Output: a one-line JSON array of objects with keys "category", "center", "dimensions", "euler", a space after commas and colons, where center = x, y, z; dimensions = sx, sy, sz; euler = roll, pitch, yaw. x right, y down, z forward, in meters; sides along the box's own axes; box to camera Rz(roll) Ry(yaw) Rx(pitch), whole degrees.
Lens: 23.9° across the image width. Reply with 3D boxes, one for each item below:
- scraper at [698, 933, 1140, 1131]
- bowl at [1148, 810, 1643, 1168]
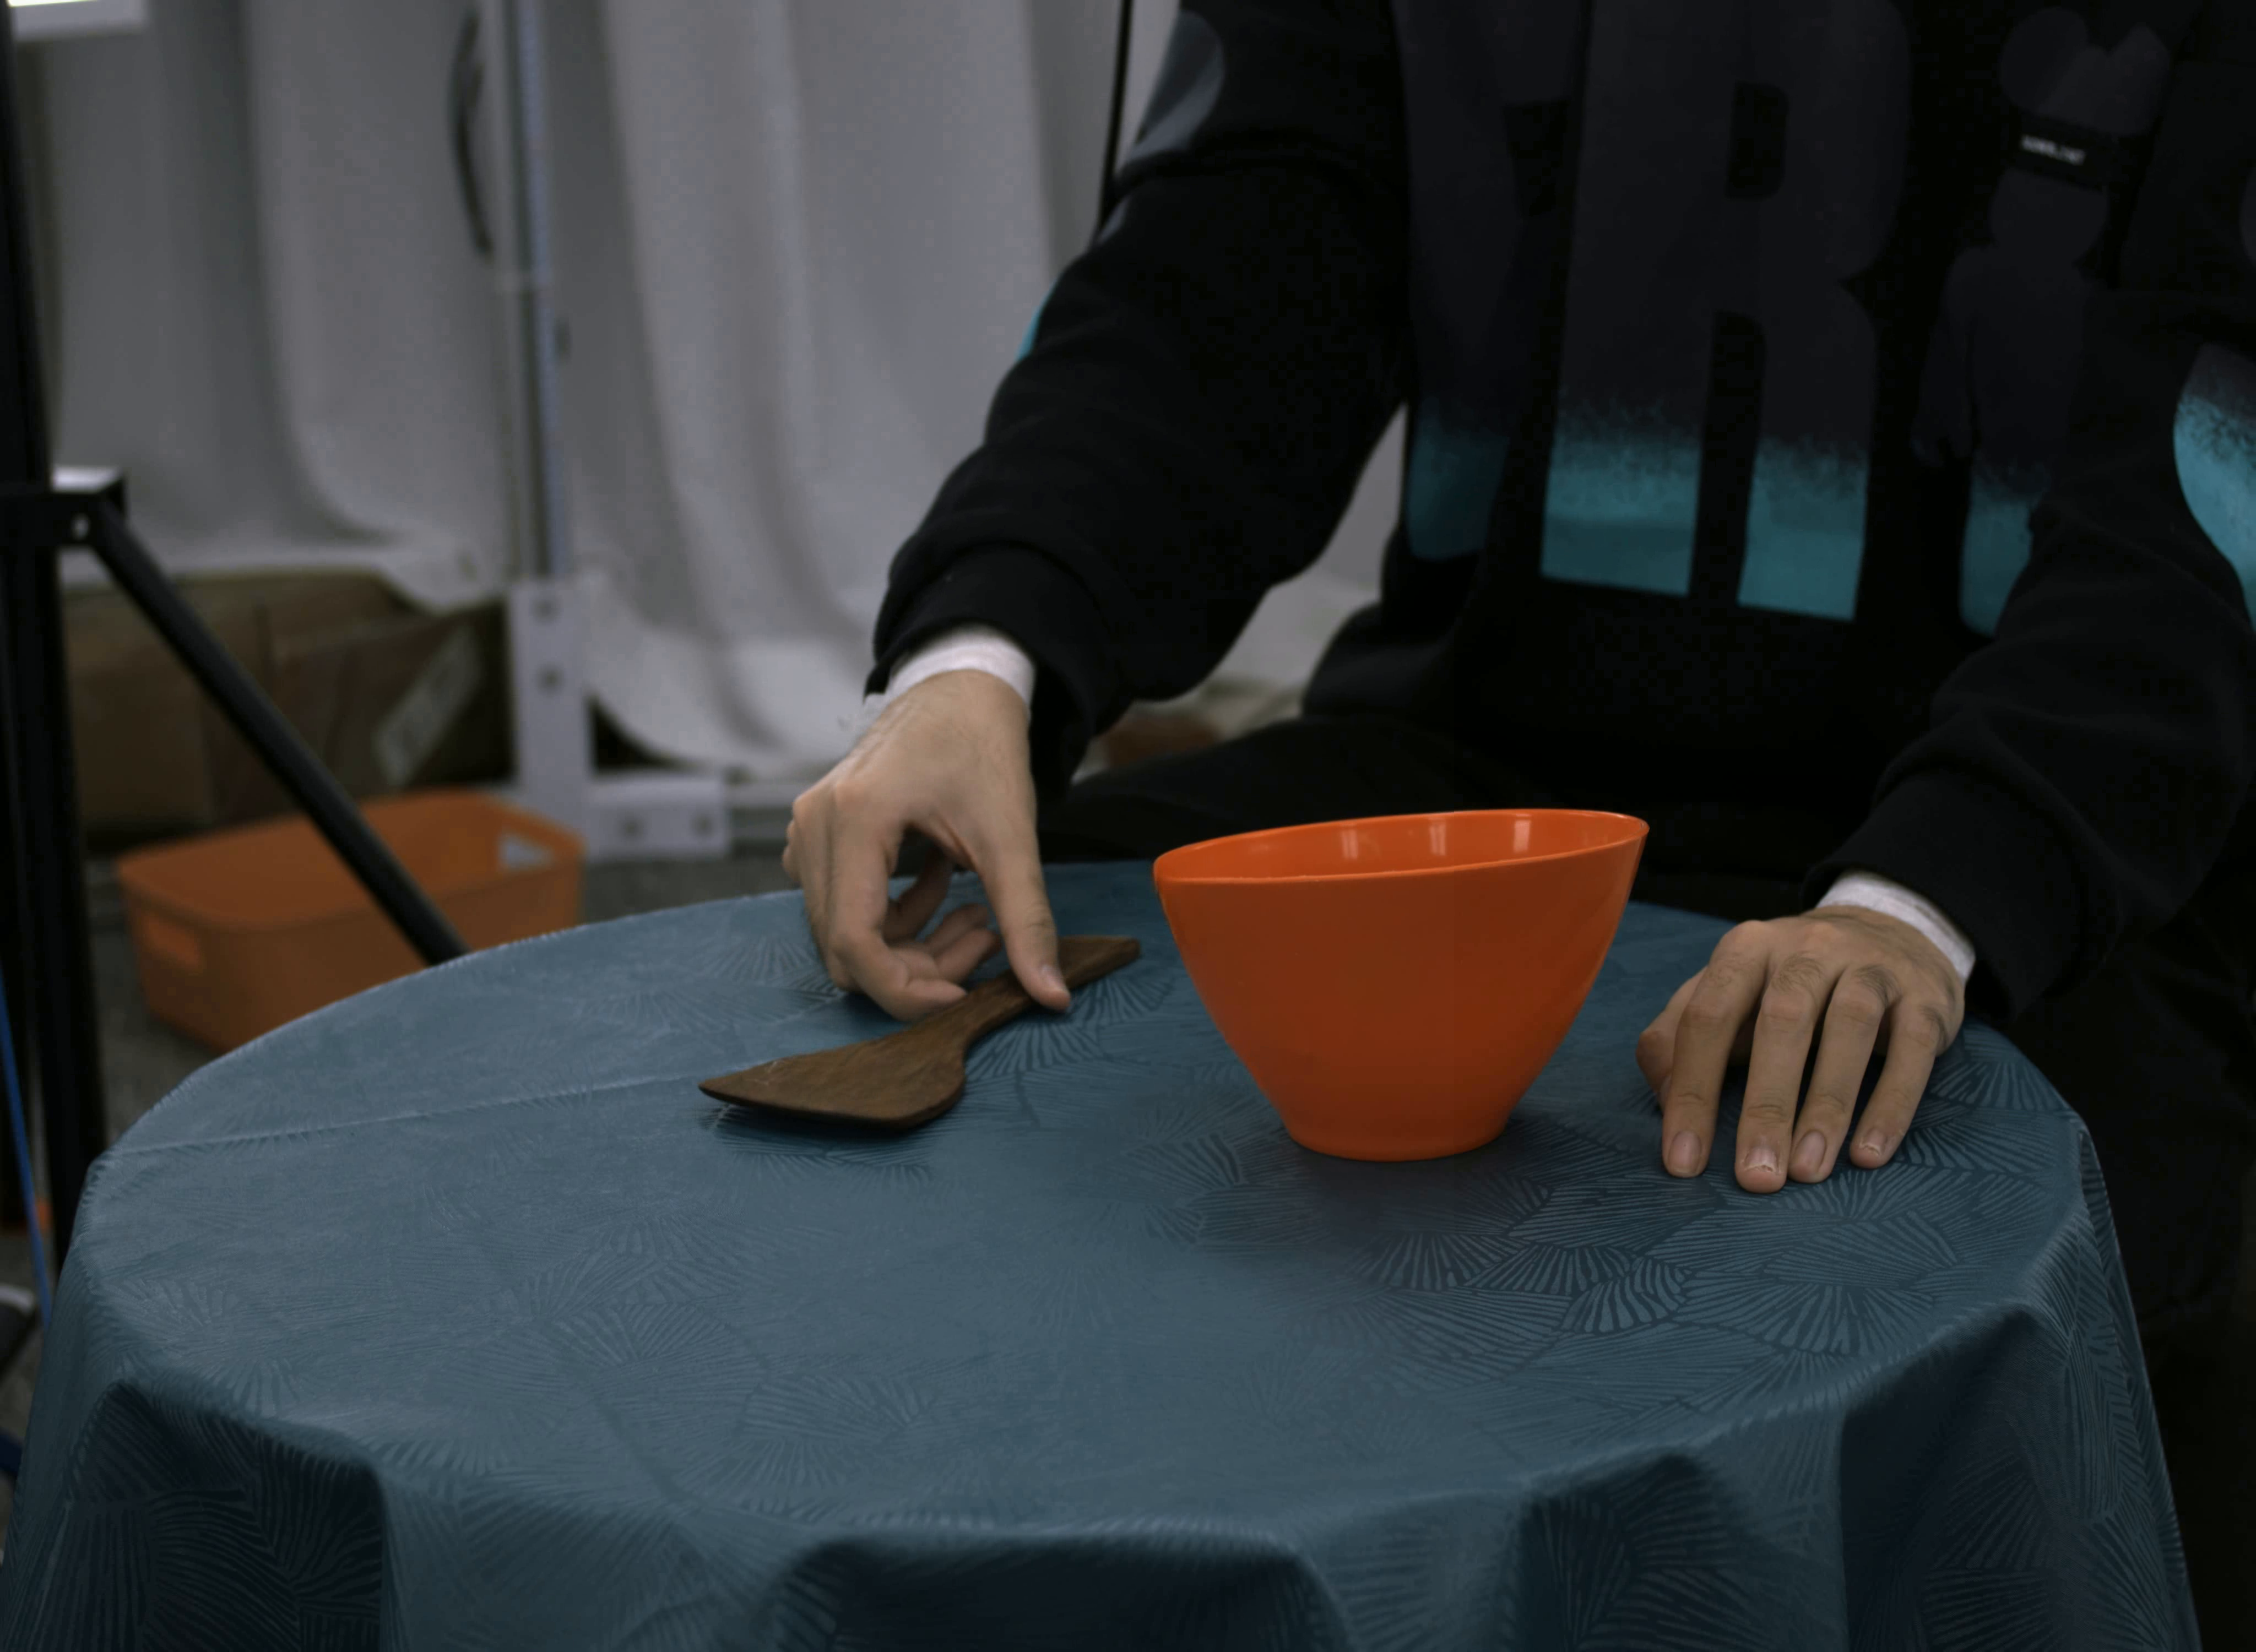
[{"category": "scraper", "center": [-0.055, 0.064, 1.707], "dimensions": [0.077, 0.011, 0.207], "euler": [8, 18, 28]}, {"category": "bowl", "center": [0.081, 0.046, 1.580], "dimensions": [0.147, 0.104, 0.149], "euler": [-4, 14, 0]}]
